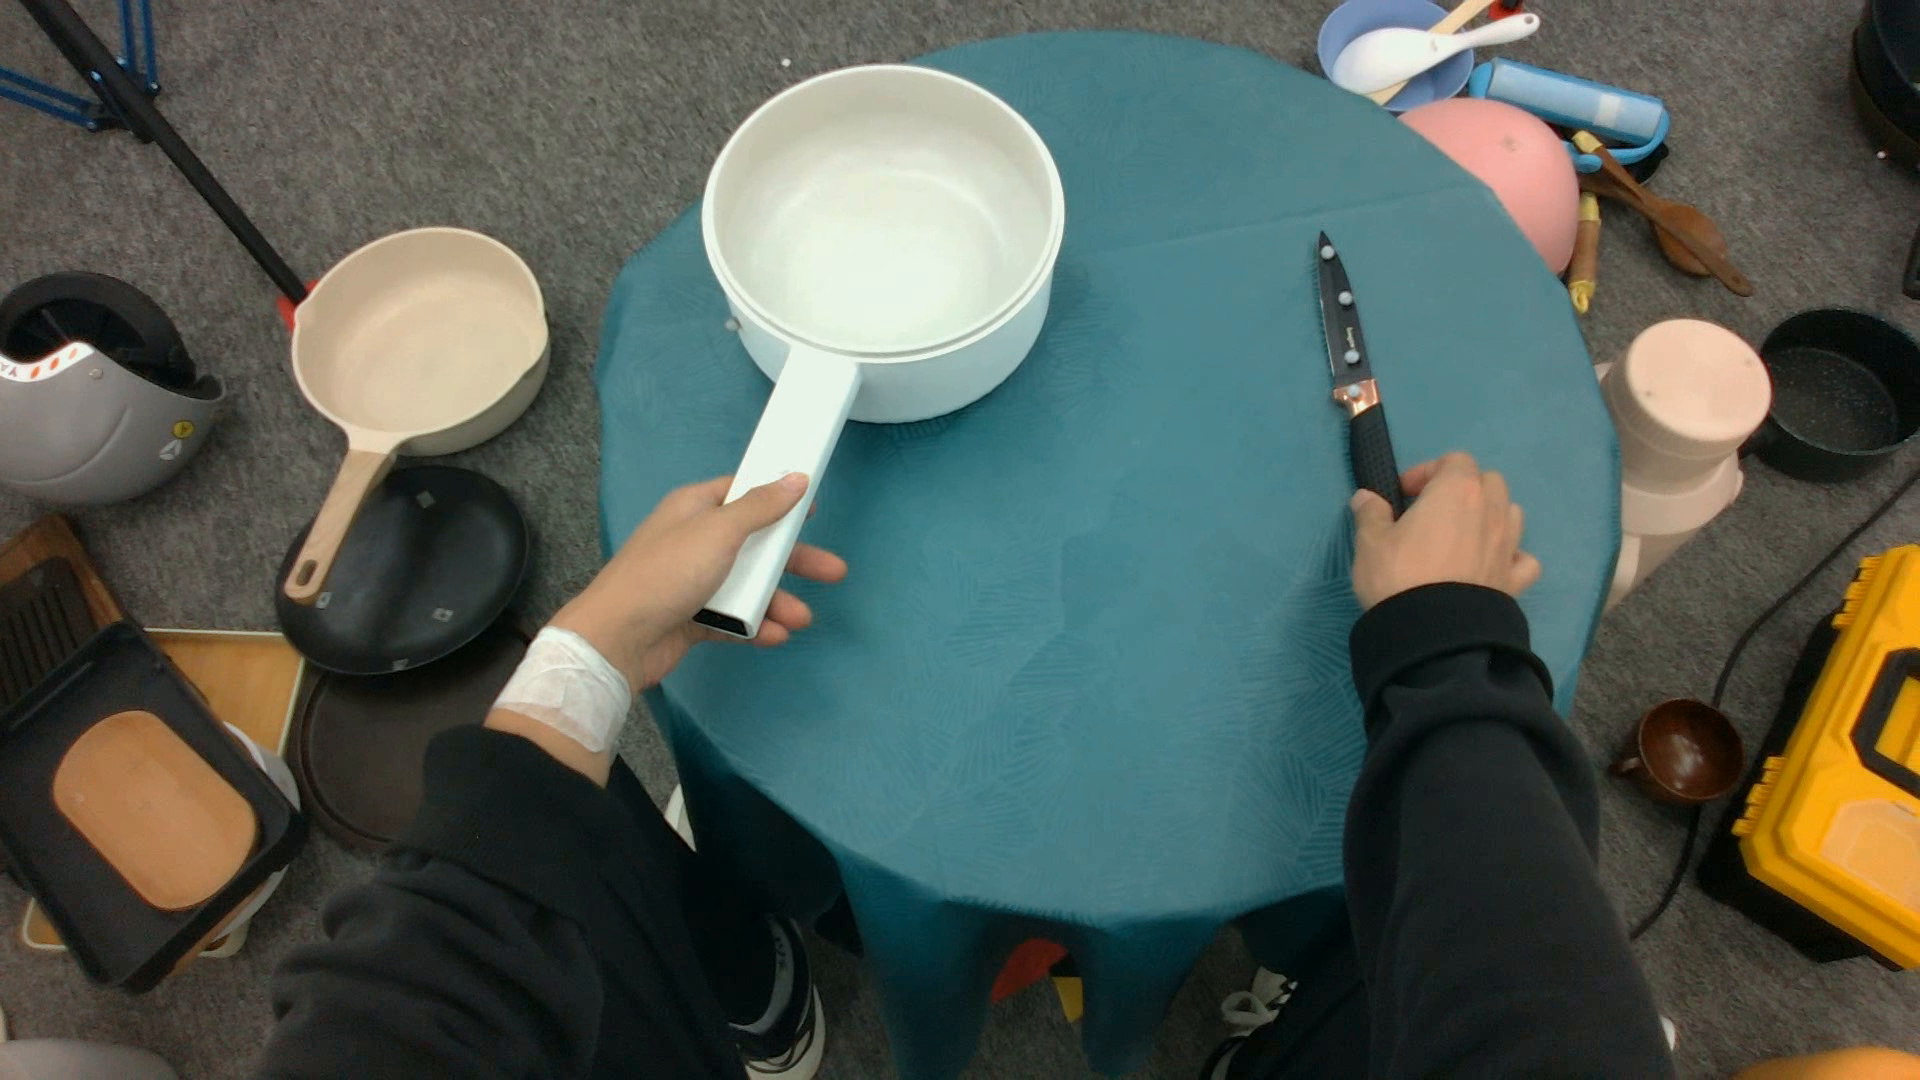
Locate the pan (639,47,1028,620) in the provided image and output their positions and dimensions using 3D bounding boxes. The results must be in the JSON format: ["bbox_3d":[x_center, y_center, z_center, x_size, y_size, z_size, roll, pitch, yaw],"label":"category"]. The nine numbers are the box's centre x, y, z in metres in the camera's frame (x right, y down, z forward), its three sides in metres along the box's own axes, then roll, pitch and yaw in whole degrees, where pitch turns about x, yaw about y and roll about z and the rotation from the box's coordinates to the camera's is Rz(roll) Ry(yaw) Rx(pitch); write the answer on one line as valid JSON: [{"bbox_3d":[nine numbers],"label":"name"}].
[{"bbox_3d":[-0.086,-0.110,0.776,0.201,0.101,0.356,16,67,5],"label":"pan"}]

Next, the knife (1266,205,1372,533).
[{"bbox_3d":[0.214,-0.108,0.825,0.026,0.017,0.226,-20,66,30],"label":"knife"}]
